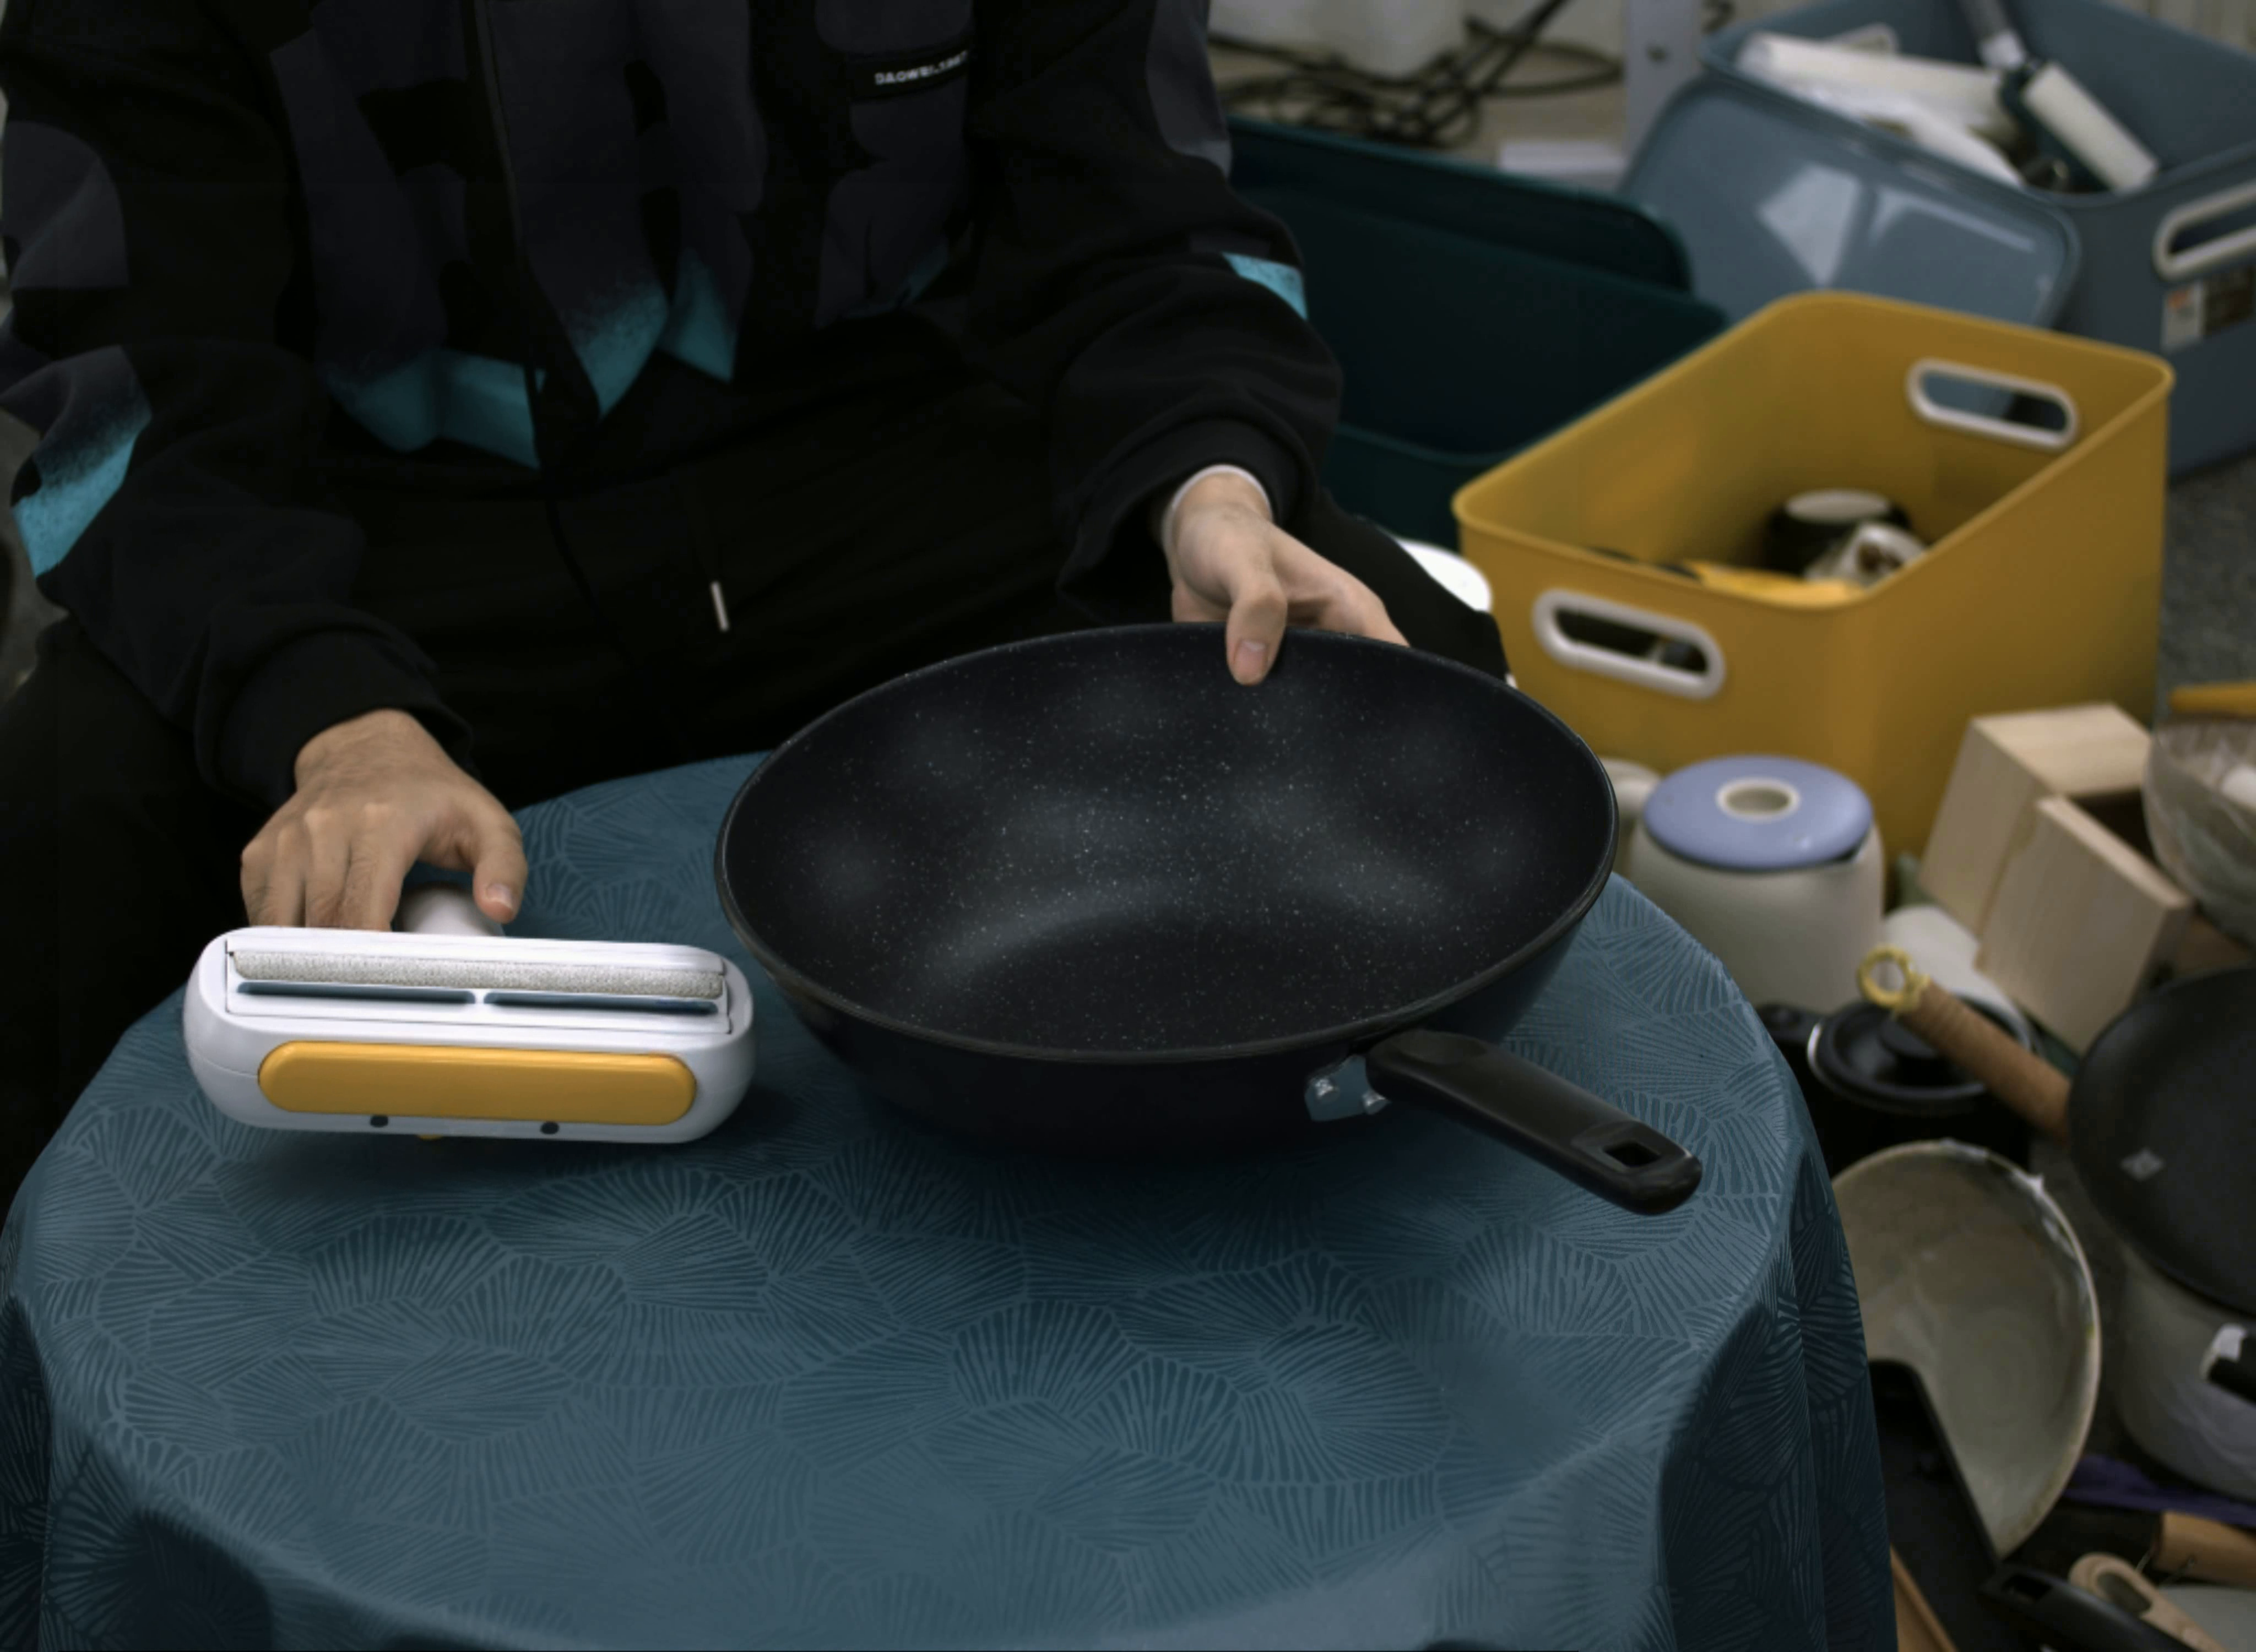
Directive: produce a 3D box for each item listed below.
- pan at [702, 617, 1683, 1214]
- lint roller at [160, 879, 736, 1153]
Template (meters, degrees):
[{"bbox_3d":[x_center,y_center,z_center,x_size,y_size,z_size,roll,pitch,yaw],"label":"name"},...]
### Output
[{"bbox_3d":[0.049,0.058,1.864,0.312,0.110,0.479,-18,31,-23],"label":"pan"},{"bbox_3d":[-0.234,0.052,1.944,0.192,0.073,0.195,1,25,-7],"label":"lint roller"}]
